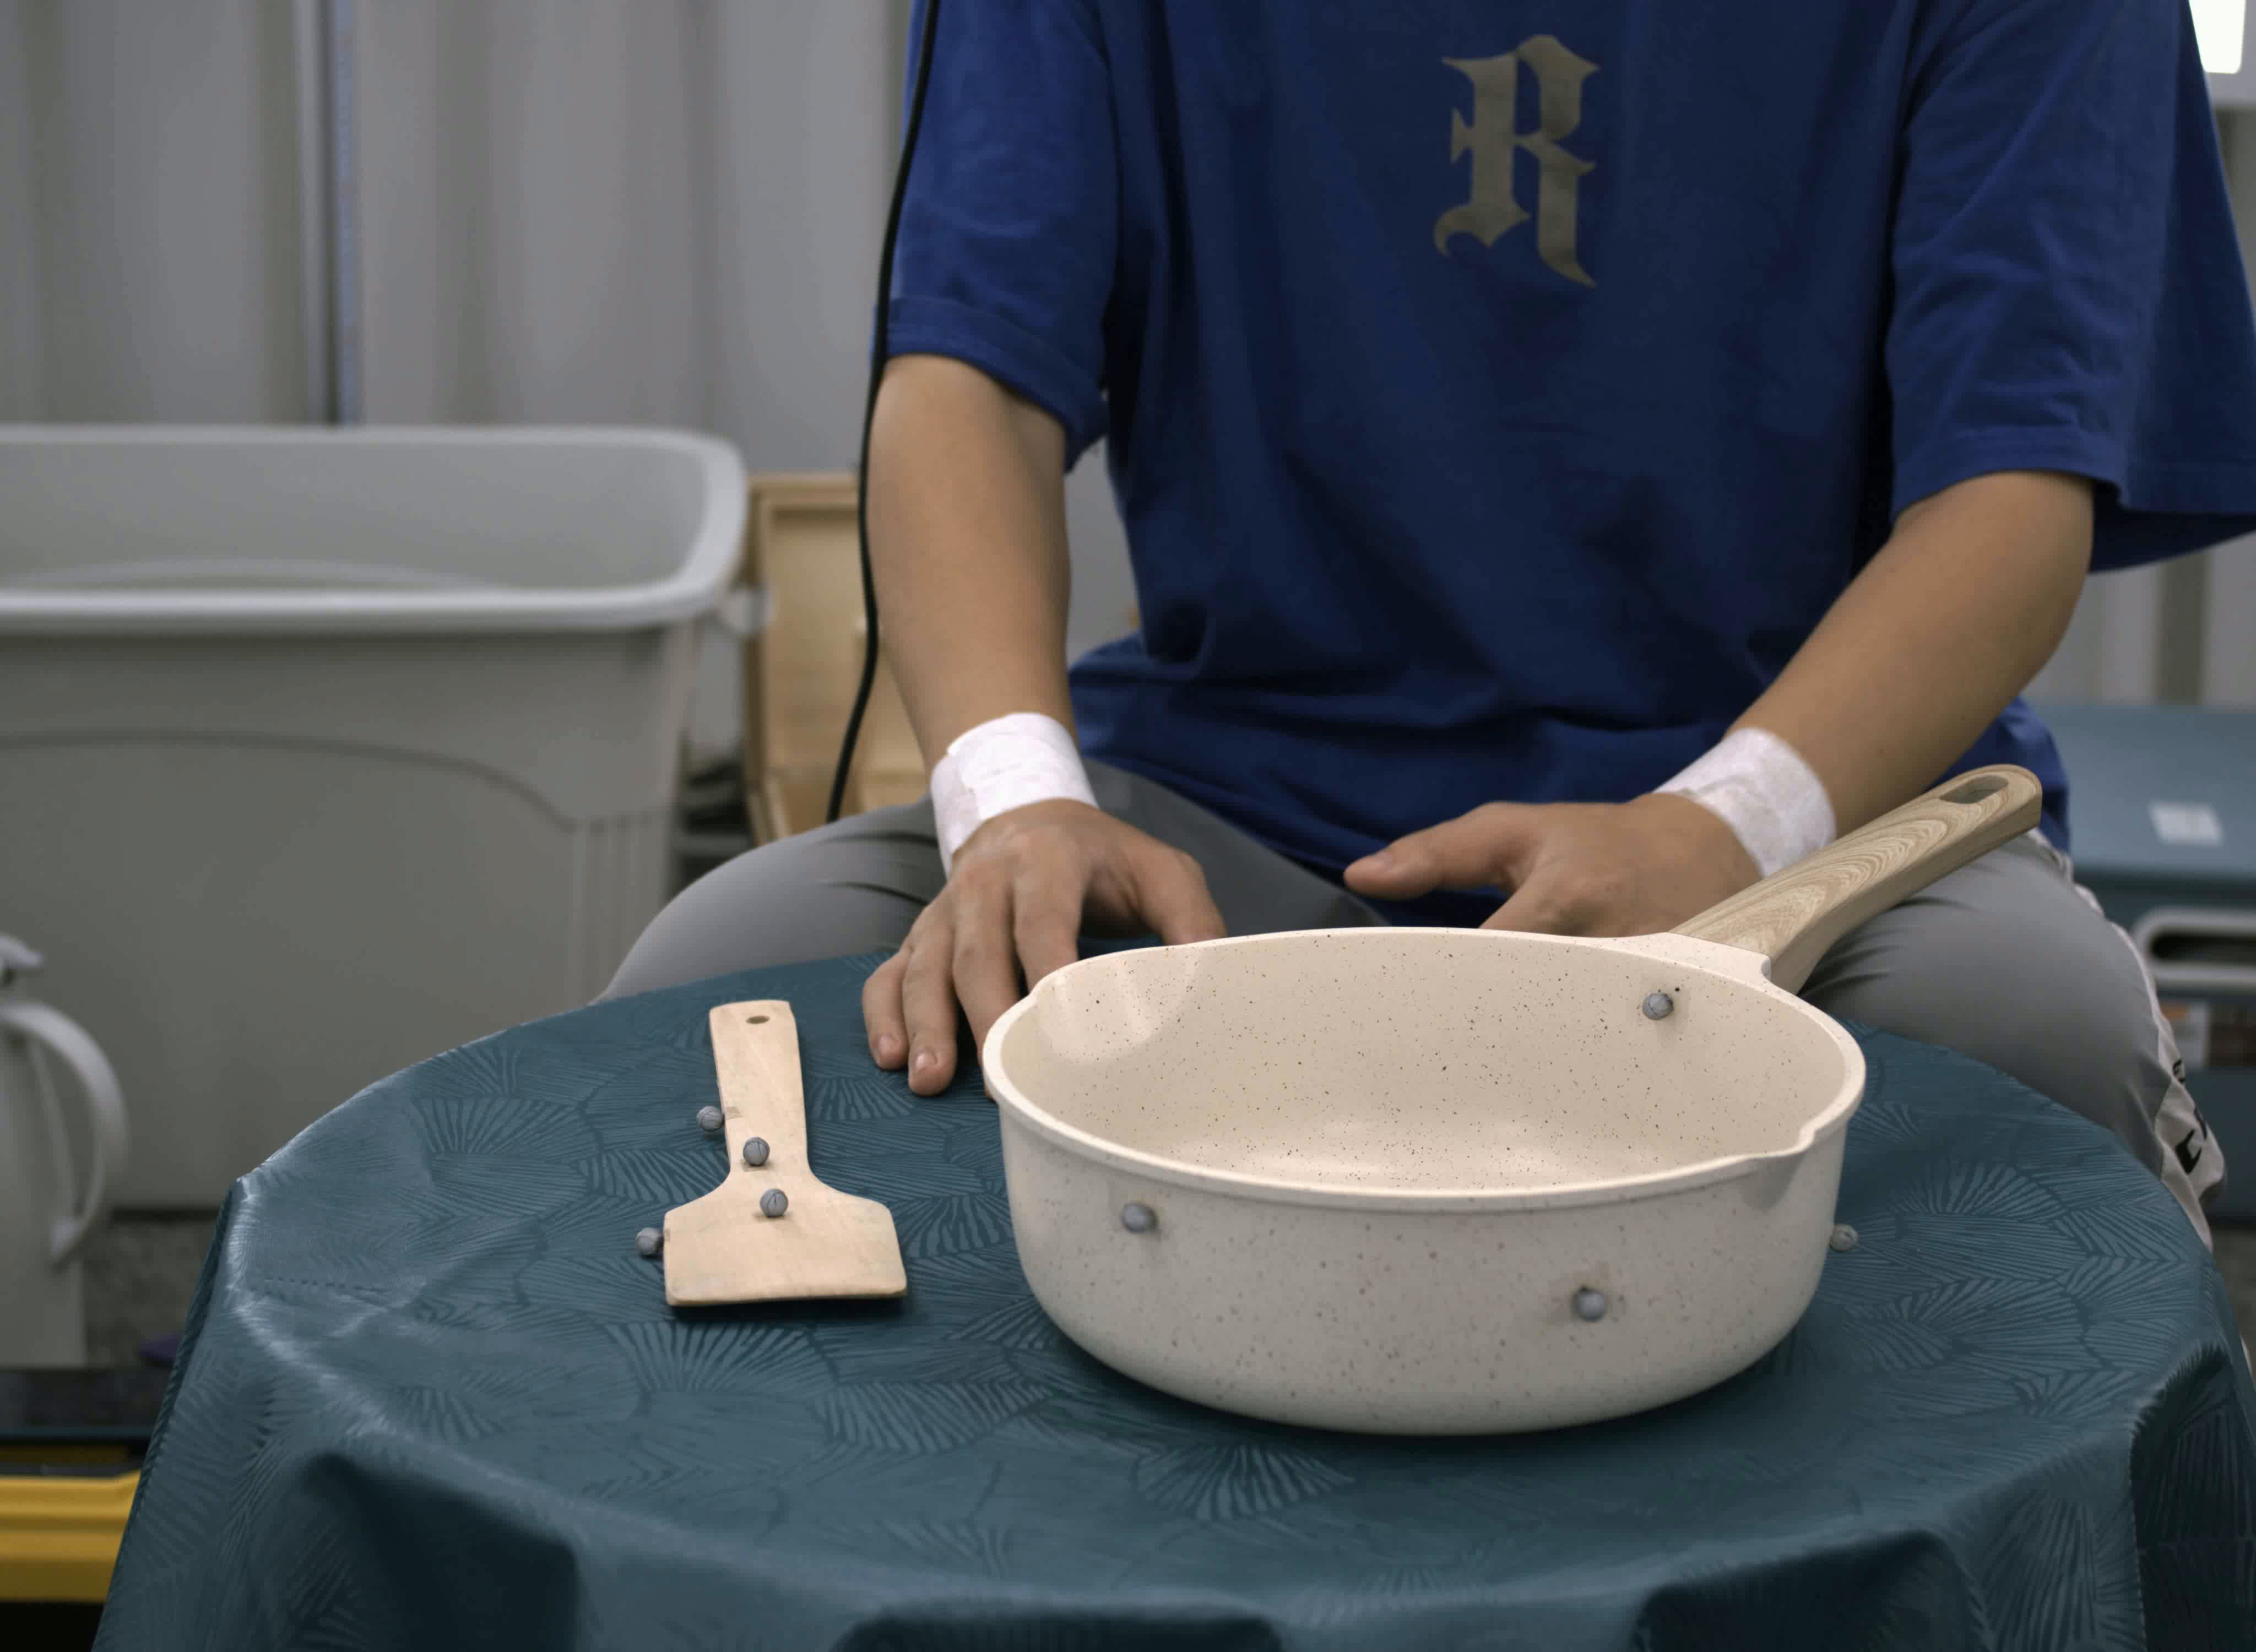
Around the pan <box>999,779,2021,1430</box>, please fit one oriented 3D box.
[{"bbox_3d":[0.147,0.077,1.569,0.260,0.103,0.437,11,18,38],"label":"pan"}]

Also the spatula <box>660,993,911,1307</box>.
[{"bbox_3d":[-0.113,0.099,1.649,0.072,0.011,0.291,-2,16,-6],"label":"spatula"}]
